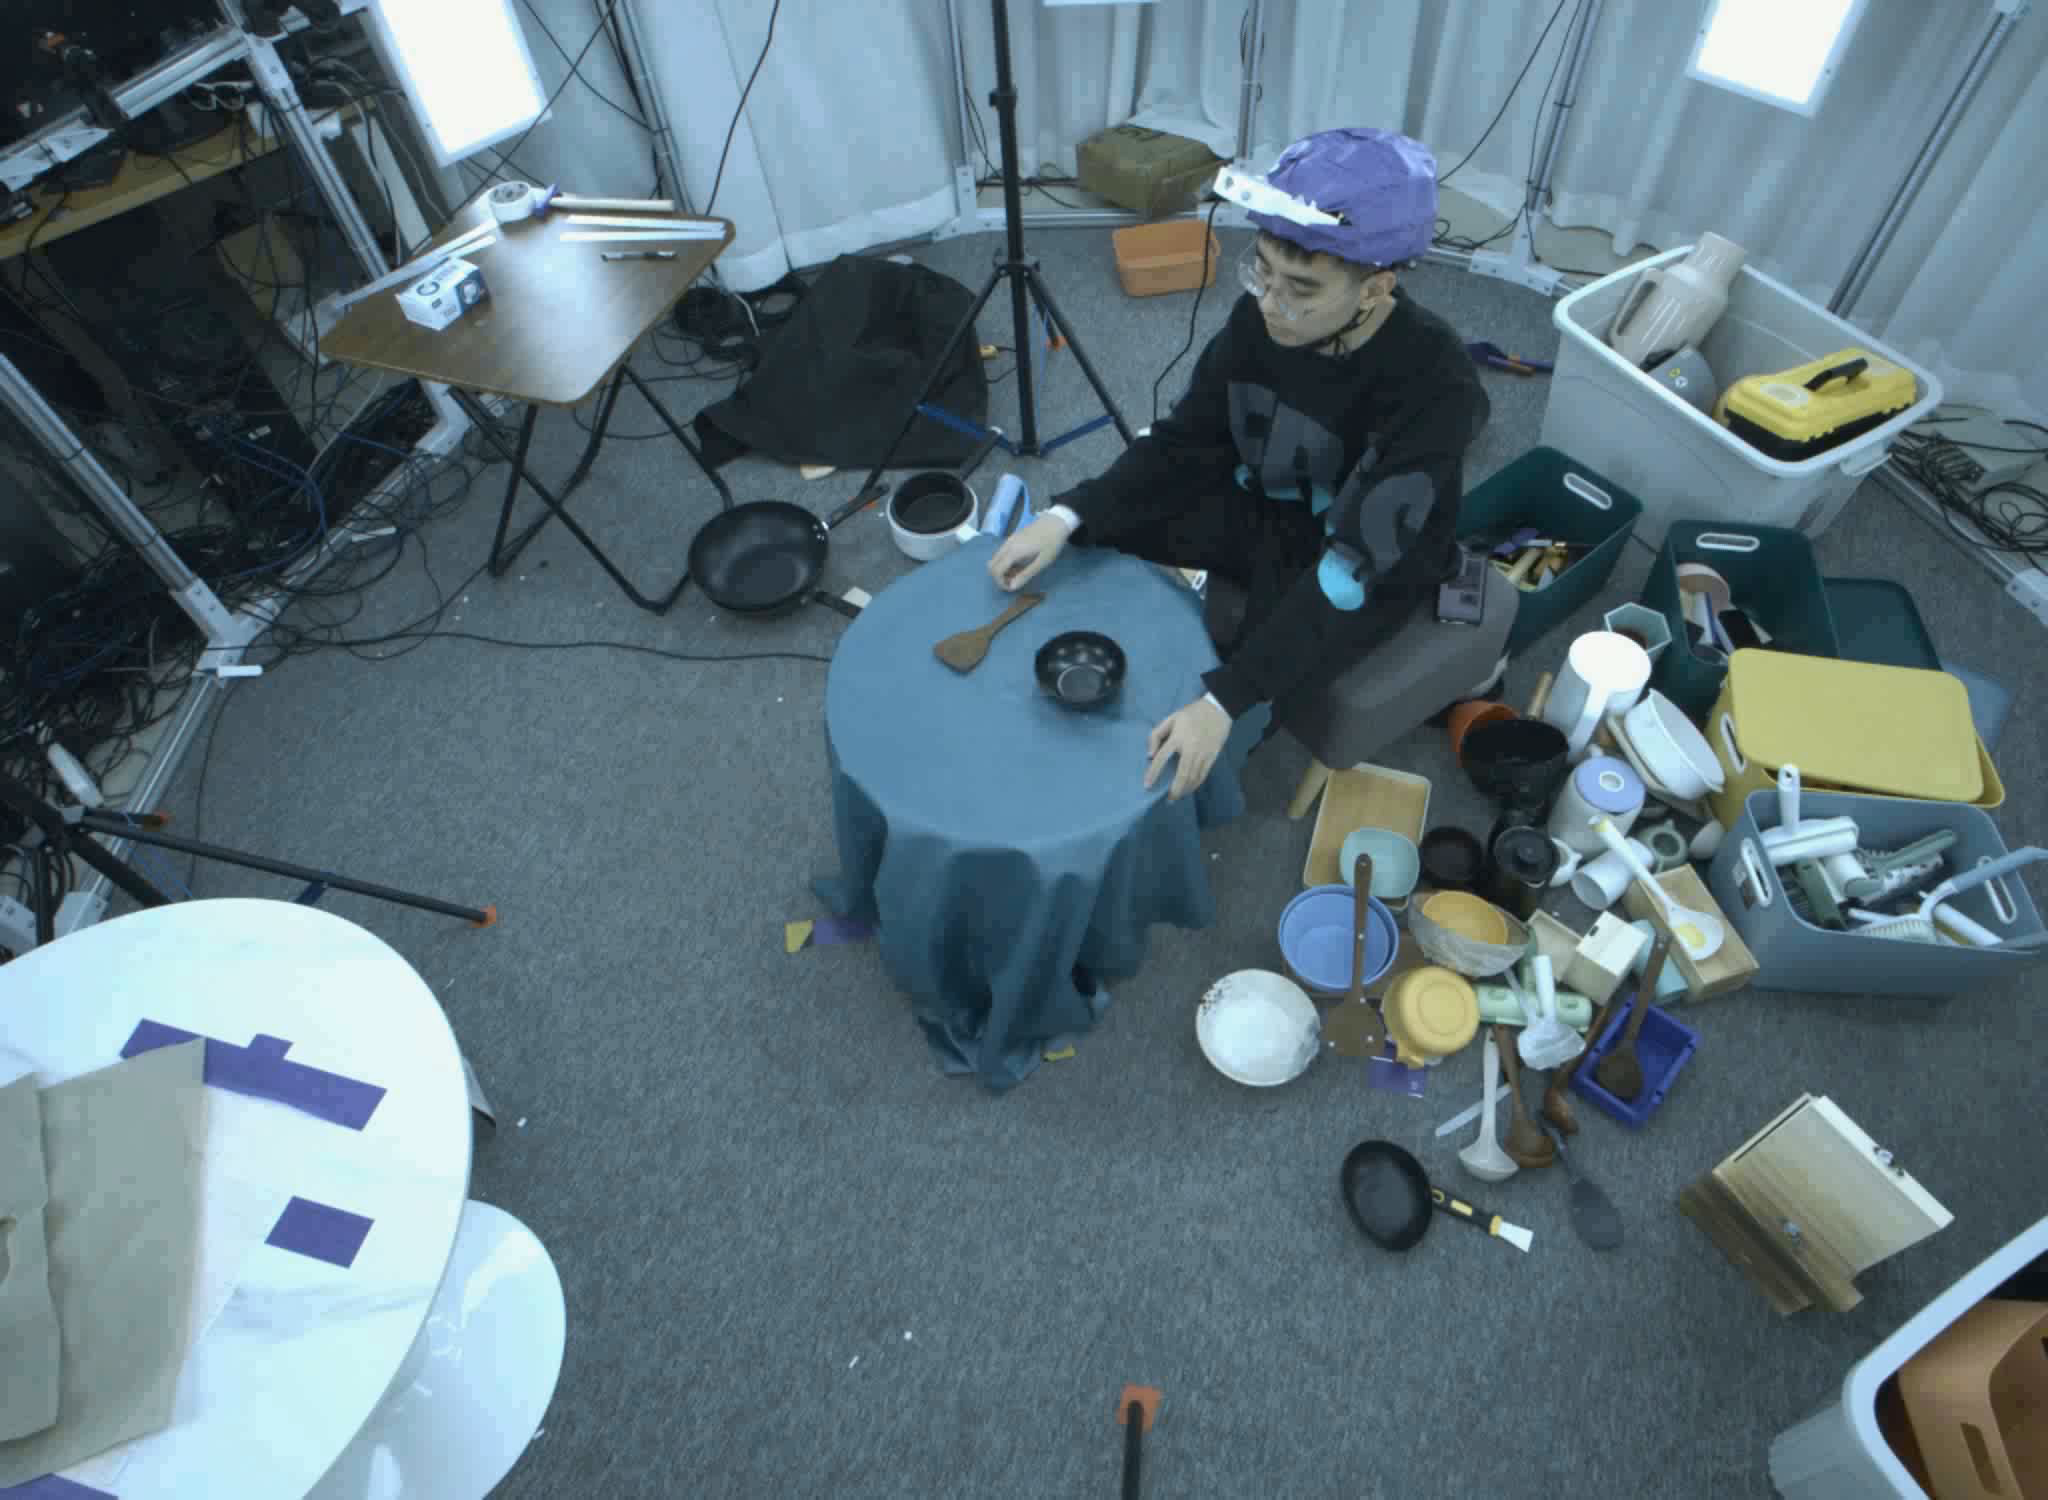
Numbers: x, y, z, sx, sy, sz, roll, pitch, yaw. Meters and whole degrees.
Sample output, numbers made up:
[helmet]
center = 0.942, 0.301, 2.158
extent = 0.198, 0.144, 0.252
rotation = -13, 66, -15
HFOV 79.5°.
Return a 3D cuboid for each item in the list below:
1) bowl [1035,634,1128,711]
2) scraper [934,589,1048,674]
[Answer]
[bowl]
center = 0.087, -0.107, 1.840
extent = 0.140, 0.050, 0.138
rotation = -2, 53, 3
[scraper]
center = -0.044, -0.192, 1.929
extent = 0.213, 0.011, 0.074
rotation = -39, 64, -23
